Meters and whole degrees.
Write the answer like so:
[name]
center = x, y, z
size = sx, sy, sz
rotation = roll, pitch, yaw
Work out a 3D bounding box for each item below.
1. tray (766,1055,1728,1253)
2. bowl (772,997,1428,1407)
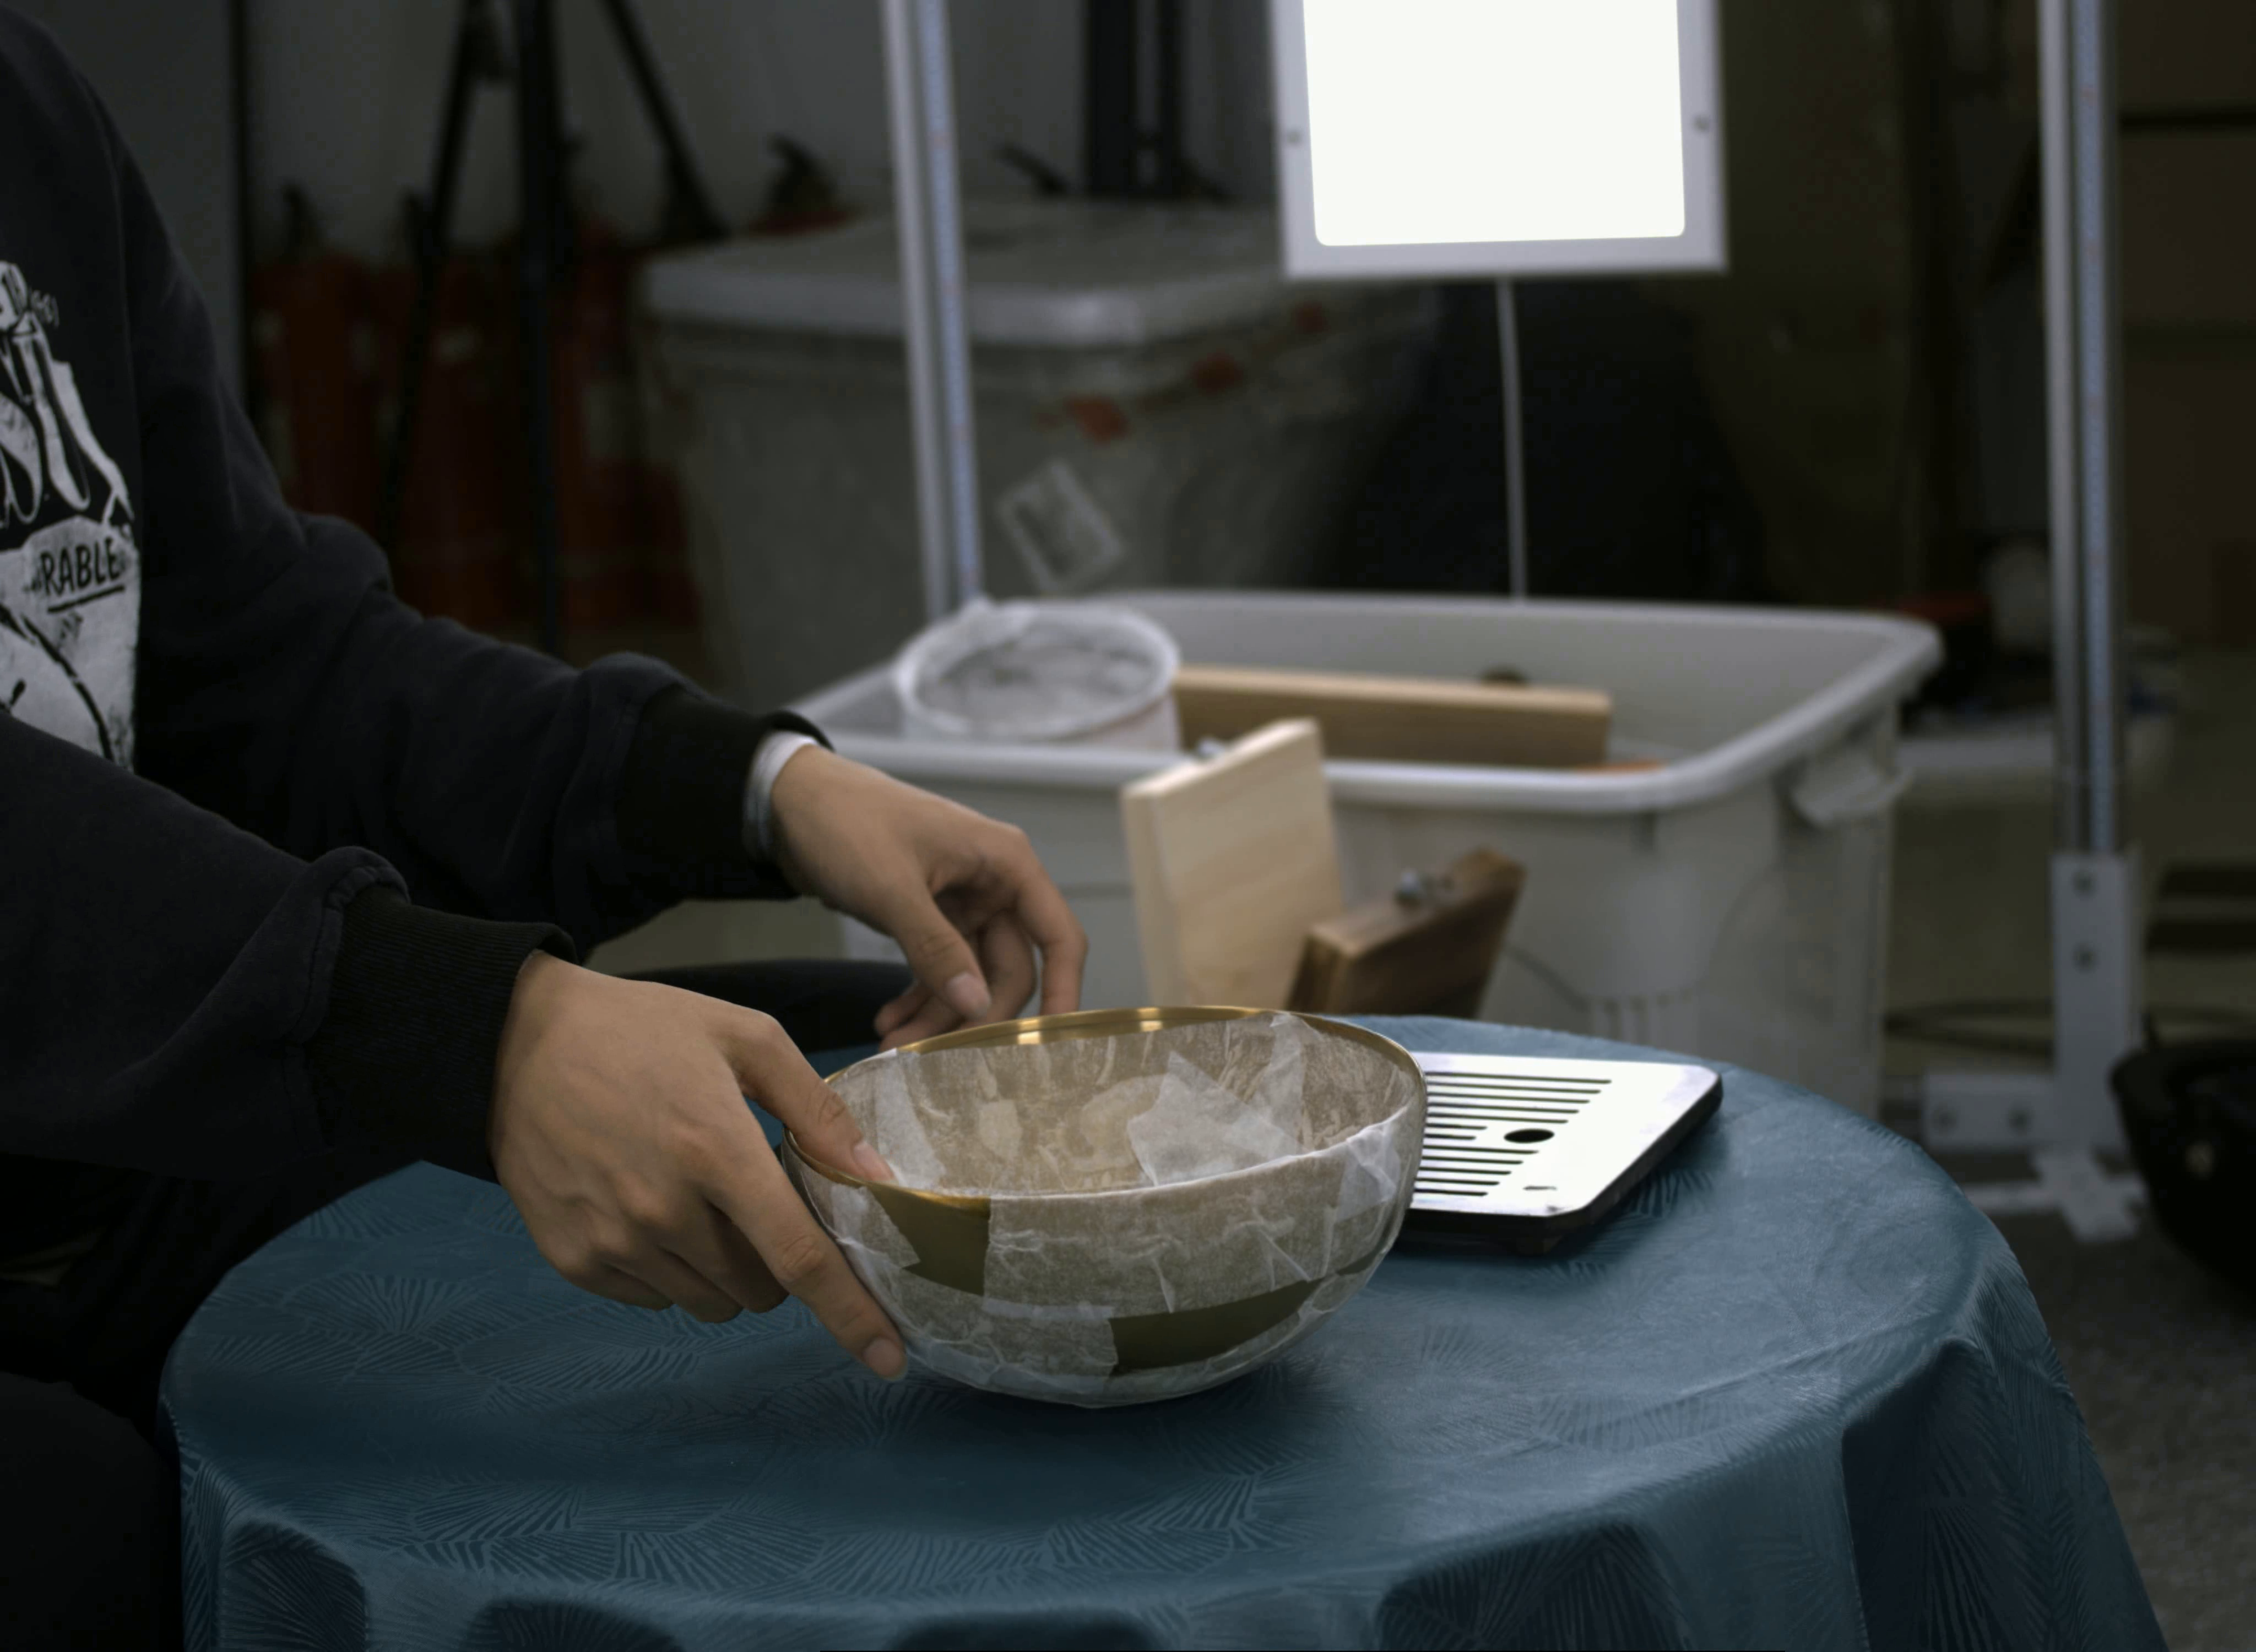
[tray]
center = 0.042, 0.109, 1.919
size = 0.311, 0.019, 0.166
rotation = 2, 15, 26
[bowl]
center = -0.004, 0.124, 1.714
size = 0.214, 0.095, 0.214
rotation = -6, 14, 0
